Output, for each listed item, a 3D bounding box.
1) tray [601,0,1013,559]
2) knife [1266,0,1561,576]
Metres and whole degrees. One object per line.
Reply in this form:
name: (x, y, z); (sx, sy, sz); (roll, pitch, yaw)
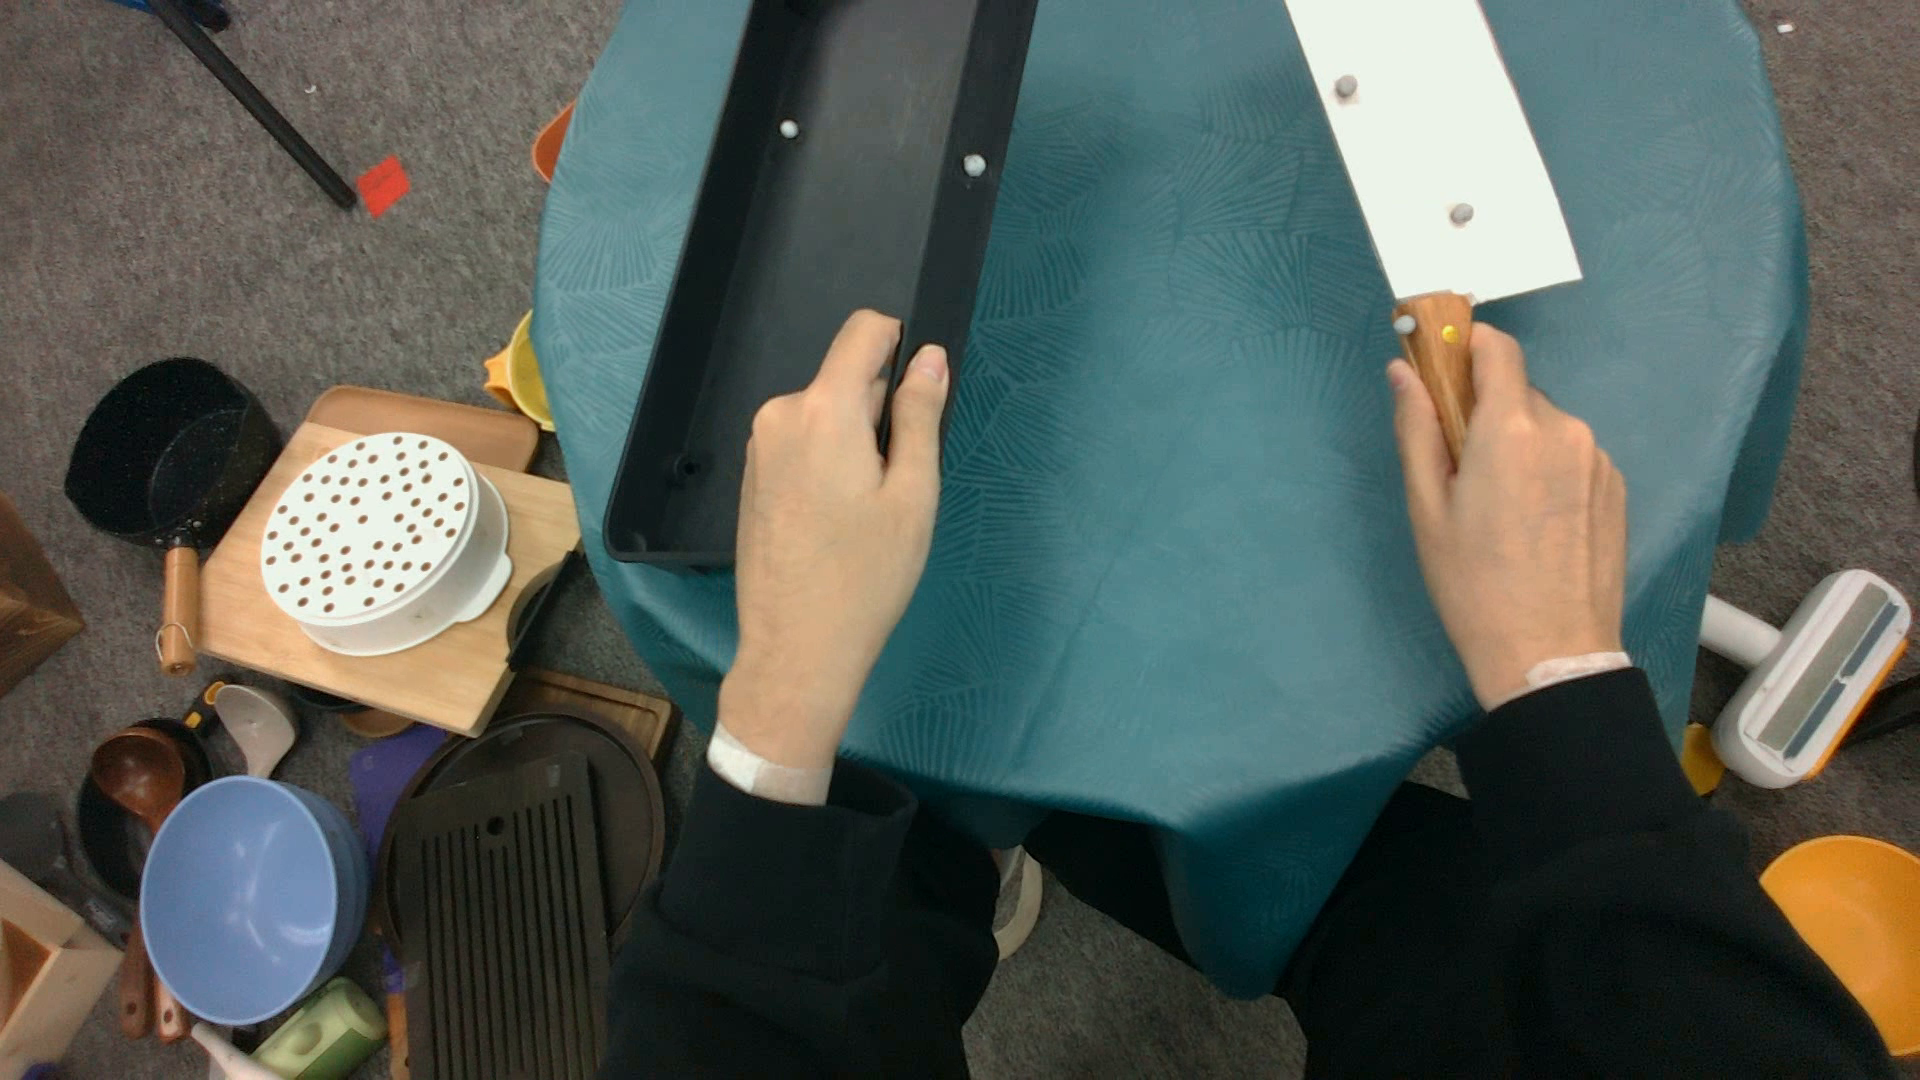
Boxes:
tray: (-0.065, -0.149, 0.607); (0.184, 0.037, 0.318); (-5, 71, 44)
knife: (0.200, -0.139, 0.575); (0.093, 0.021, 0.306); (-16, 82, -16)
